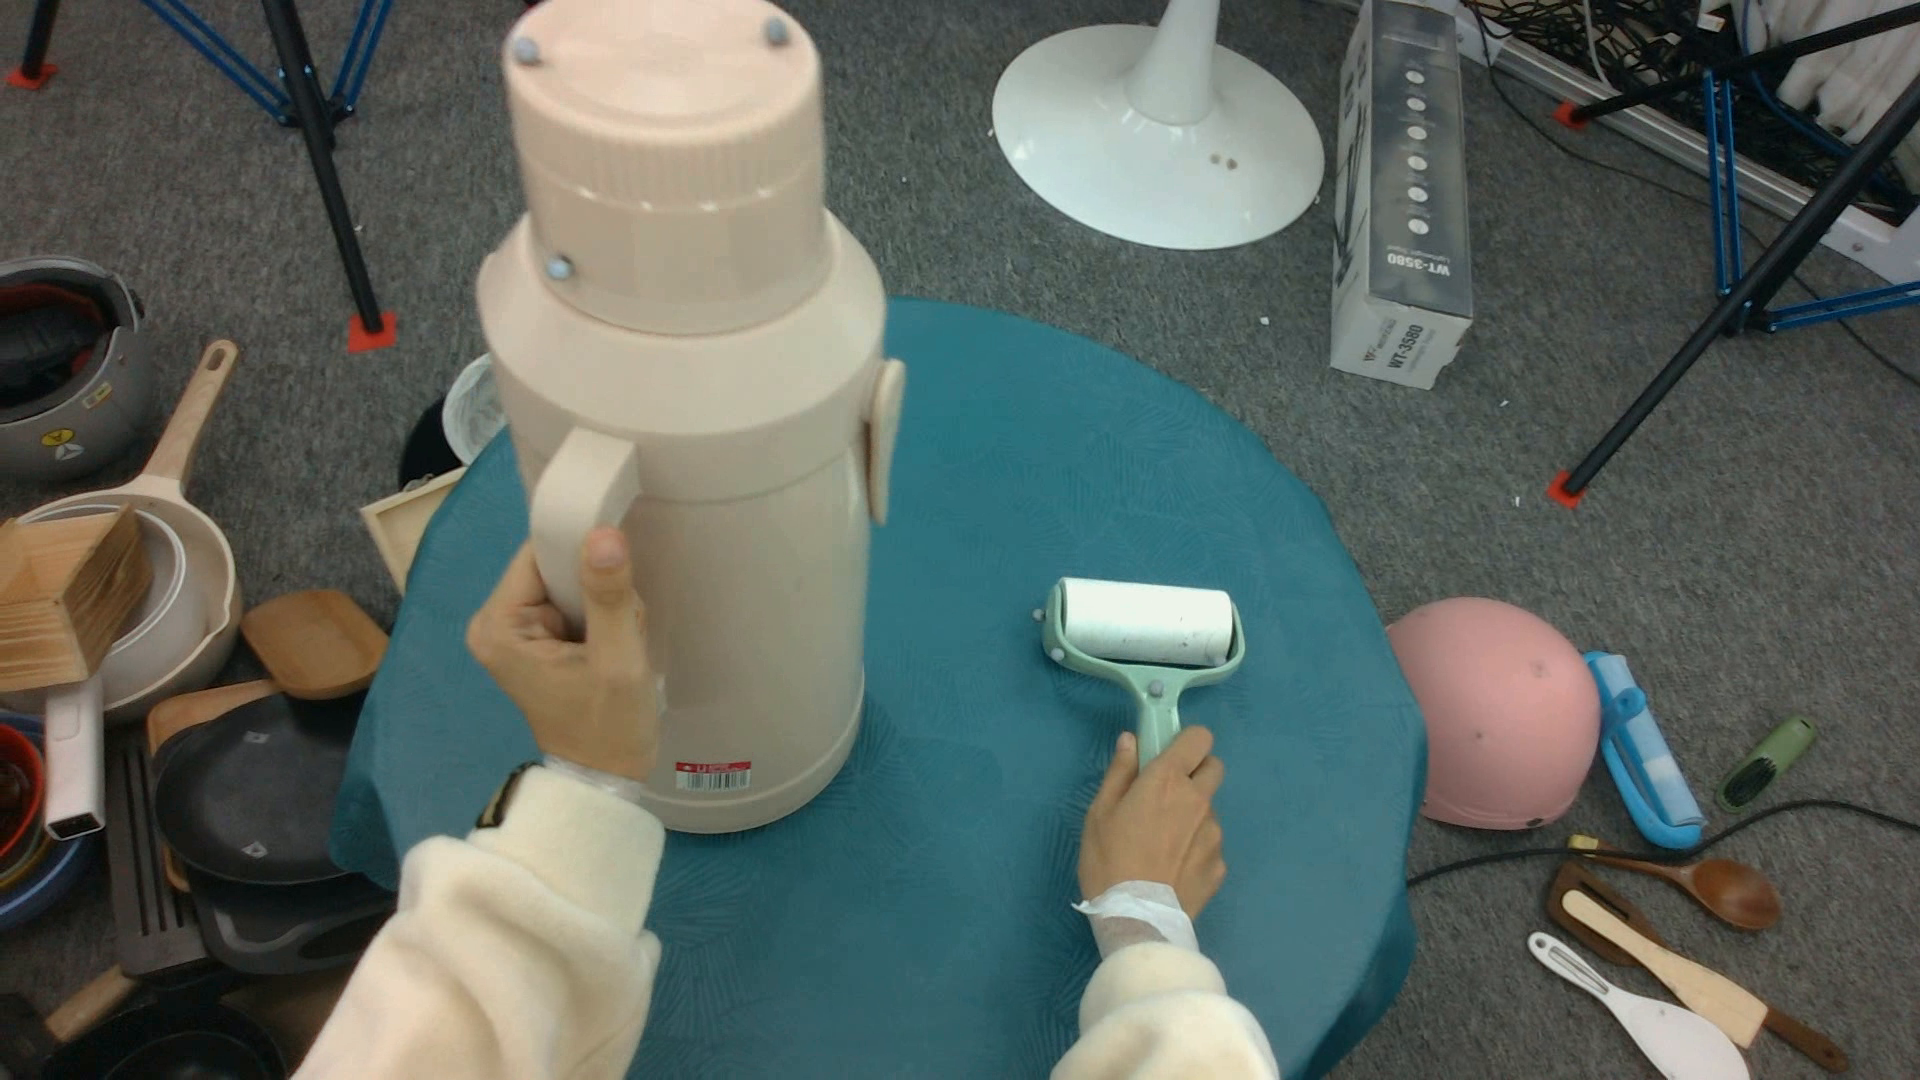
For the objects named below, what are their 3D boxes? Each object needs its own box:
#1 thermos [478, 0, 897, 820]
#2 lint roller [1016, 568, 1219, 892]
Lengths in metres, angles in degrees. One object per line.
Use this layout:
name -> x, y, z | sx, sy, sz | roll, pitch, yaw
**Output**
thermos -> -0.125, -0.029, 0.611 | 0.175, 0.404, 0.208 | 17, 50, 5
lint roller -> 0.092, 0.099, 0.772 | 0.117, 0.048, 0.198 | 7, 47, -8
